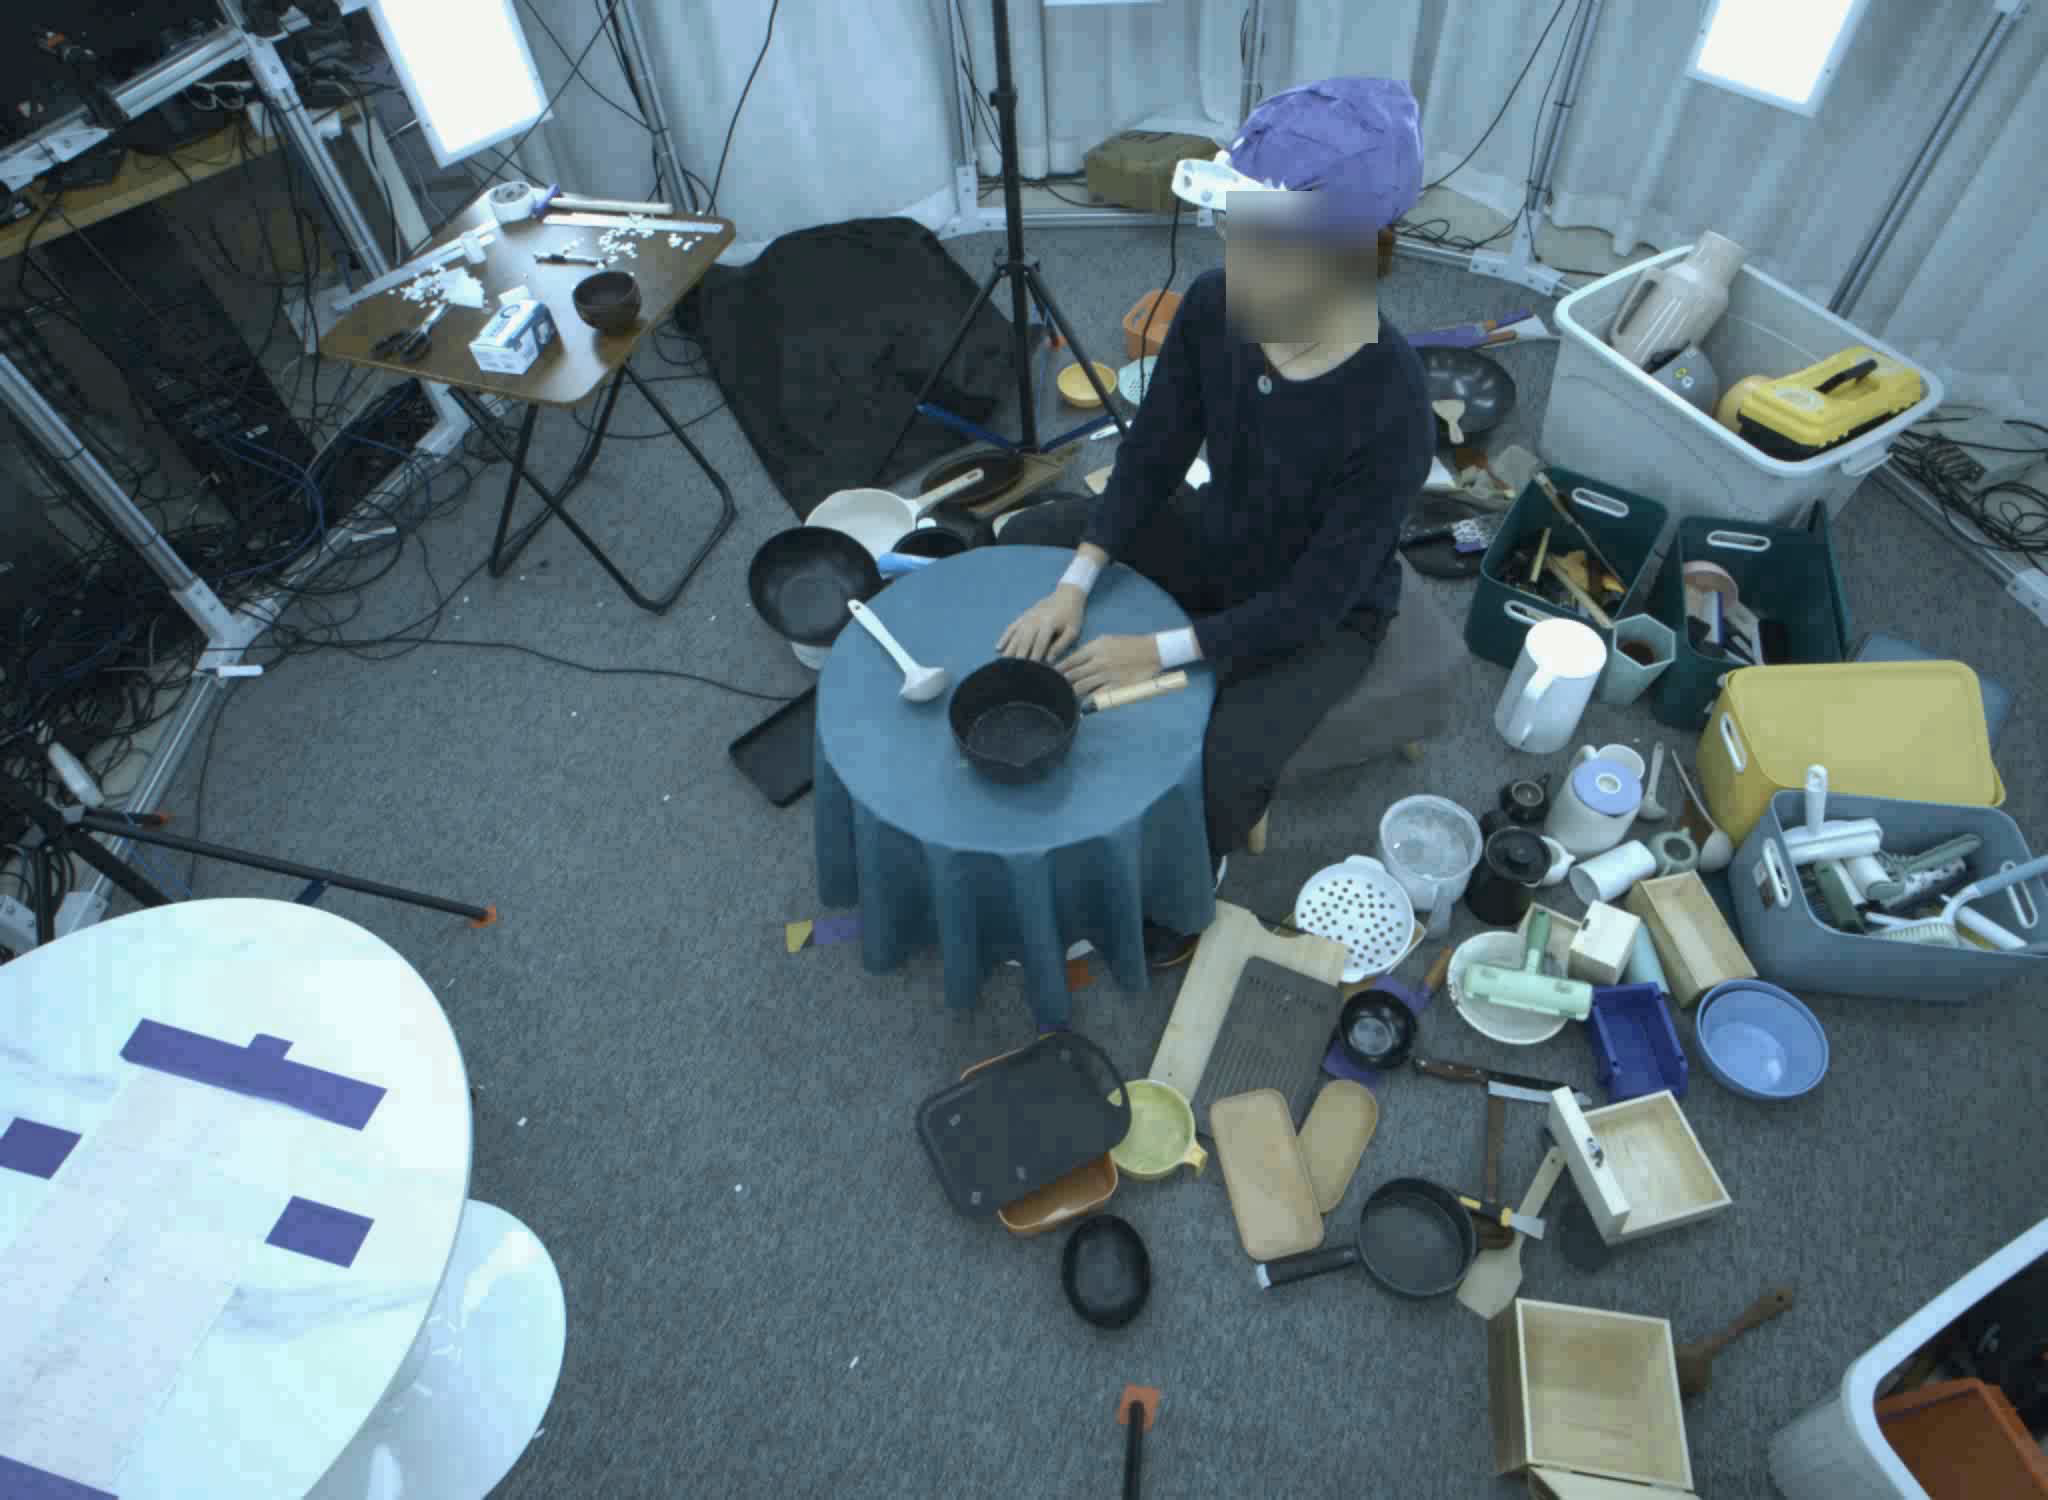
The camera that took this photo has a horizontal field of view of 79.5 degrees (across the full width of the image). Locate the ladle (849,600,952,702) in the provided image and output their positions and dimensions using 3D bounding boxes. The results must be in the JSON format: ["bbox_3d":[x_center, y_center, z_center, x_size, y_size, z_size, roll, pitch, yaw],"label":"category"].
[{"bbox_3d":[-0.207,-0.172,1.877,0.090,0.070,0.269,-35,59,-12],"label":"ladle"}]

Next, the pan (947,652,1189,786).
[{"bbox_3d":[0.065,-0.053,1.756,0.343,0.109,0.204,-9,54,-3],"label":"pan"}]
